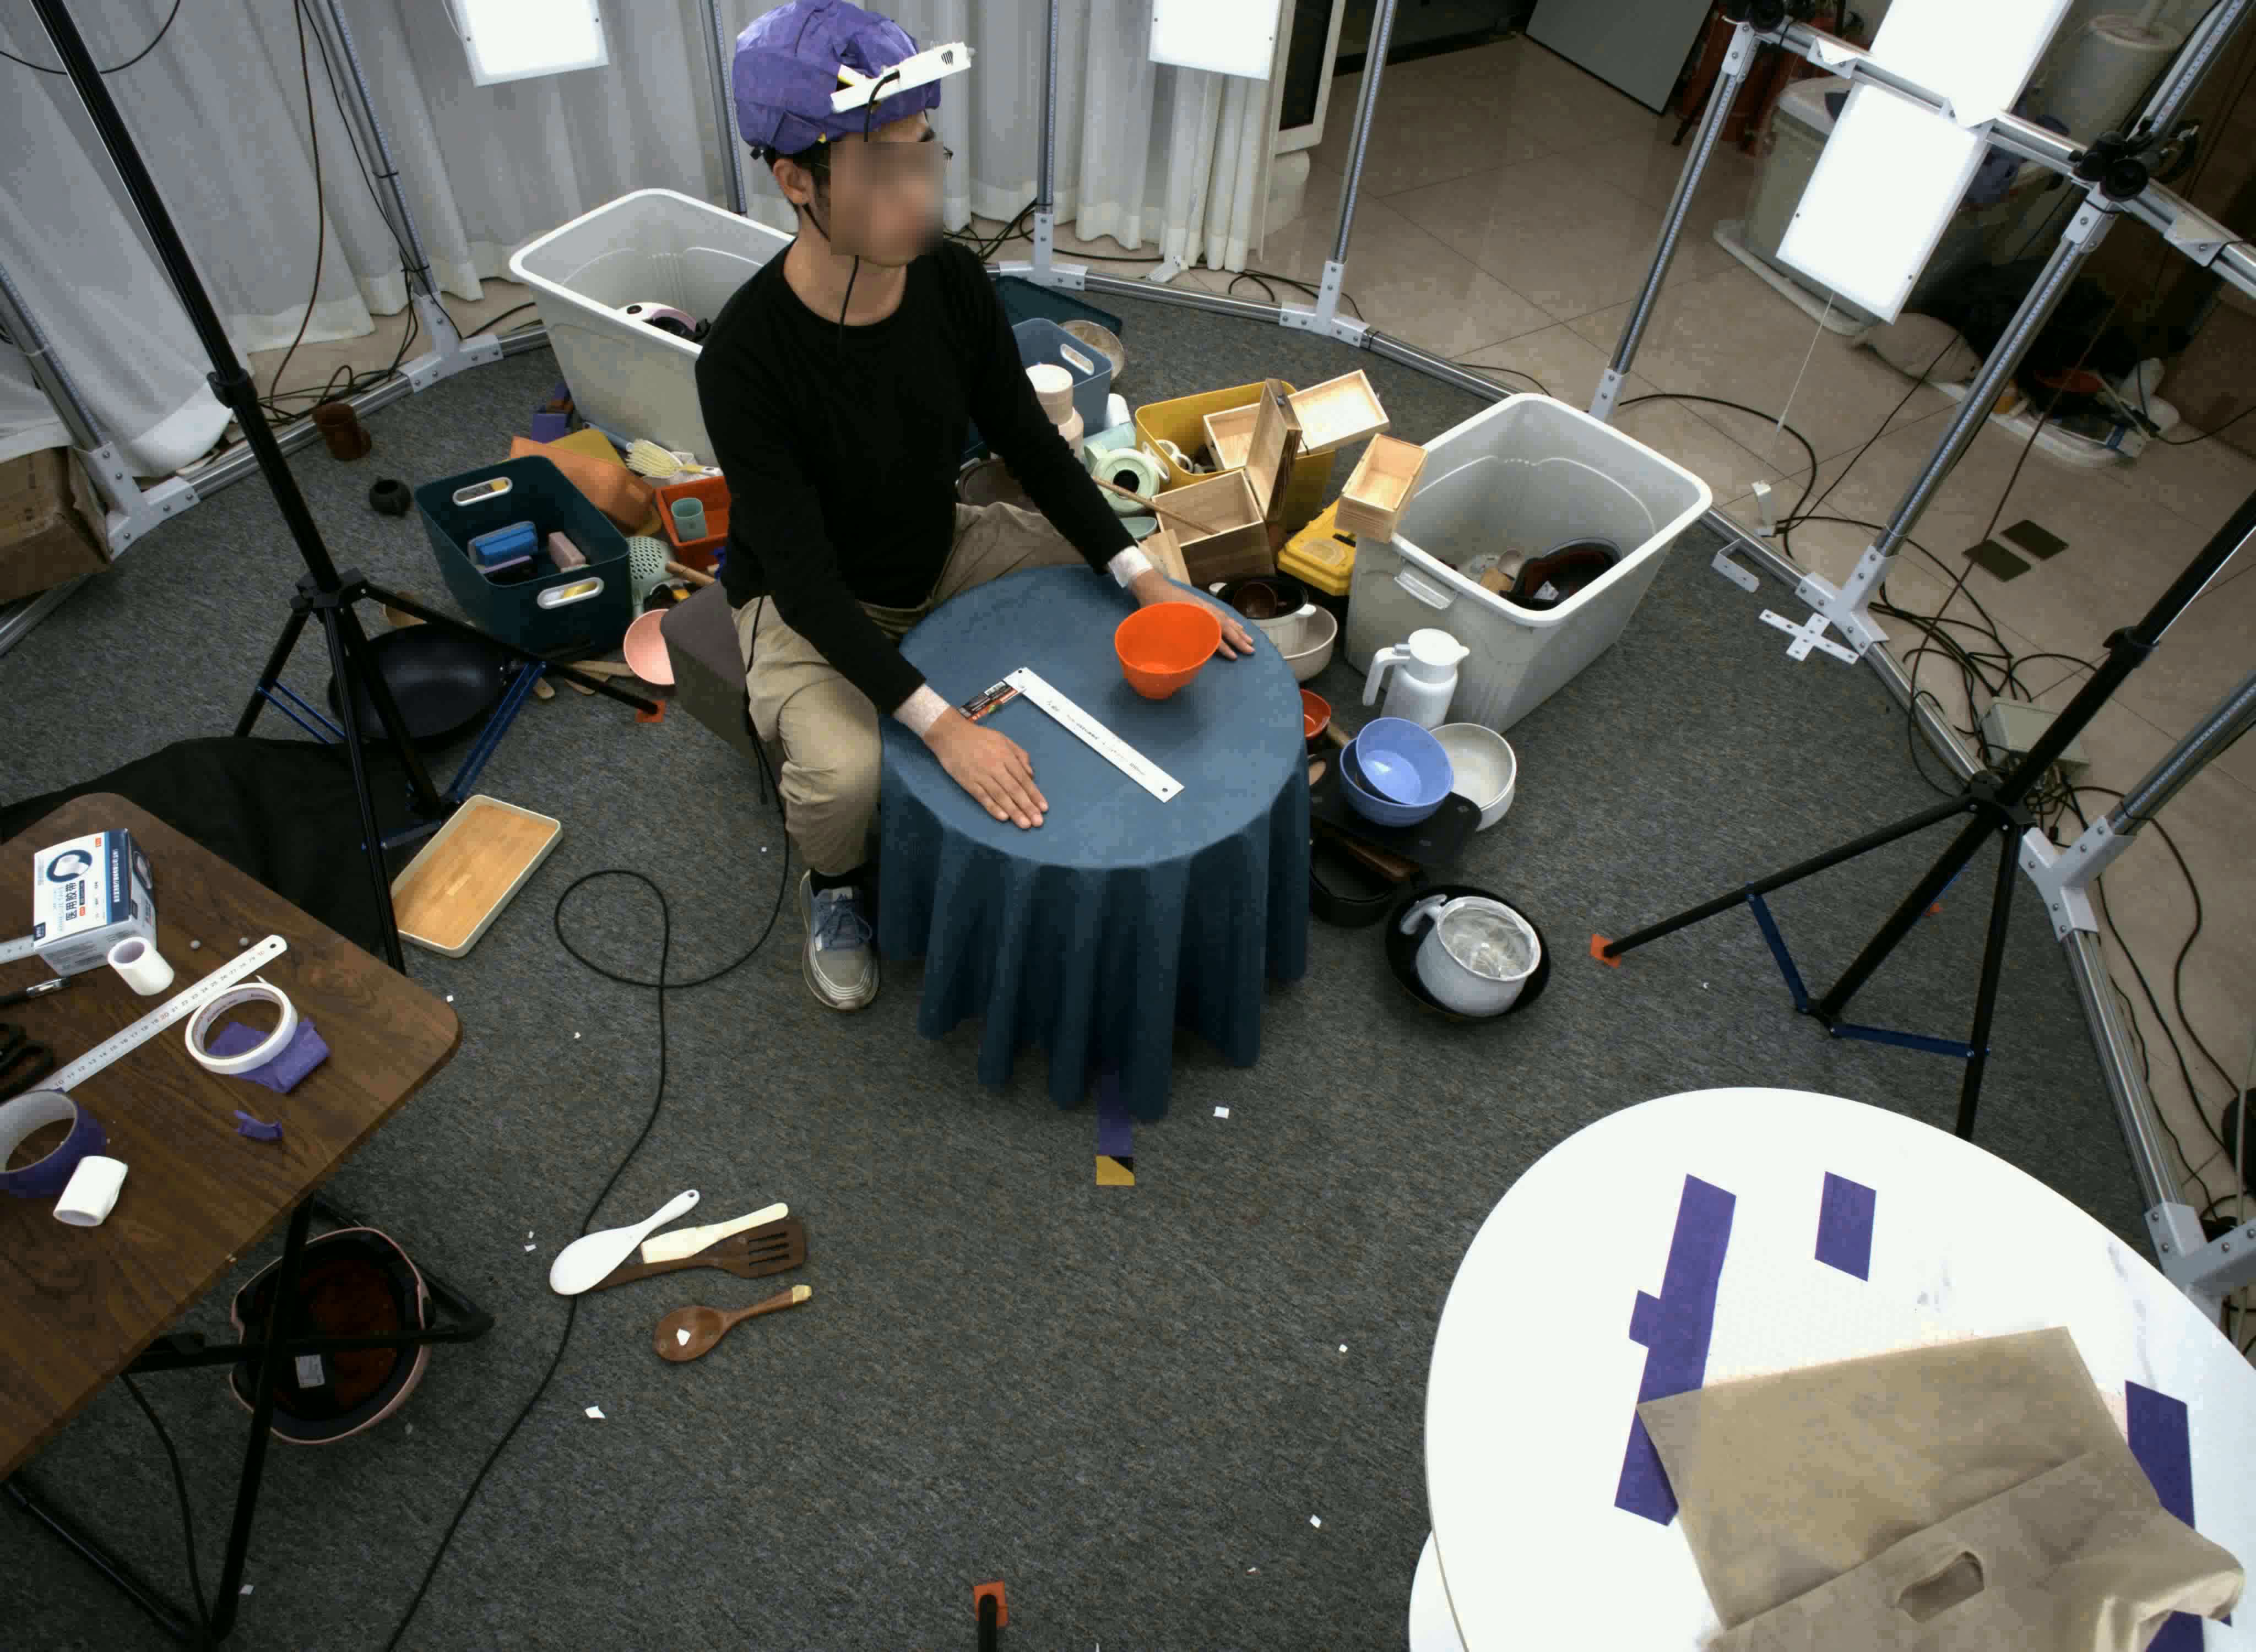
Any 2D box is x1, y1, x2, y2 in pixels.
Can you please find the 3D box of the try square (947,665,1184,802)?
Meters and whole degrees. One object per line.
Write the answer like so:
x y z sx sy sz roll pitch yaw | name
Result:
-0.088 -0.101 1.752 0.317 0.015 0.153 39 62 25 | try square

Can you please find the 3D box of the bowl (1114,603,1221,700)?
0.052 -0.235 1.813 0.148 0.102 0.152 1 50 -2 | bowl
